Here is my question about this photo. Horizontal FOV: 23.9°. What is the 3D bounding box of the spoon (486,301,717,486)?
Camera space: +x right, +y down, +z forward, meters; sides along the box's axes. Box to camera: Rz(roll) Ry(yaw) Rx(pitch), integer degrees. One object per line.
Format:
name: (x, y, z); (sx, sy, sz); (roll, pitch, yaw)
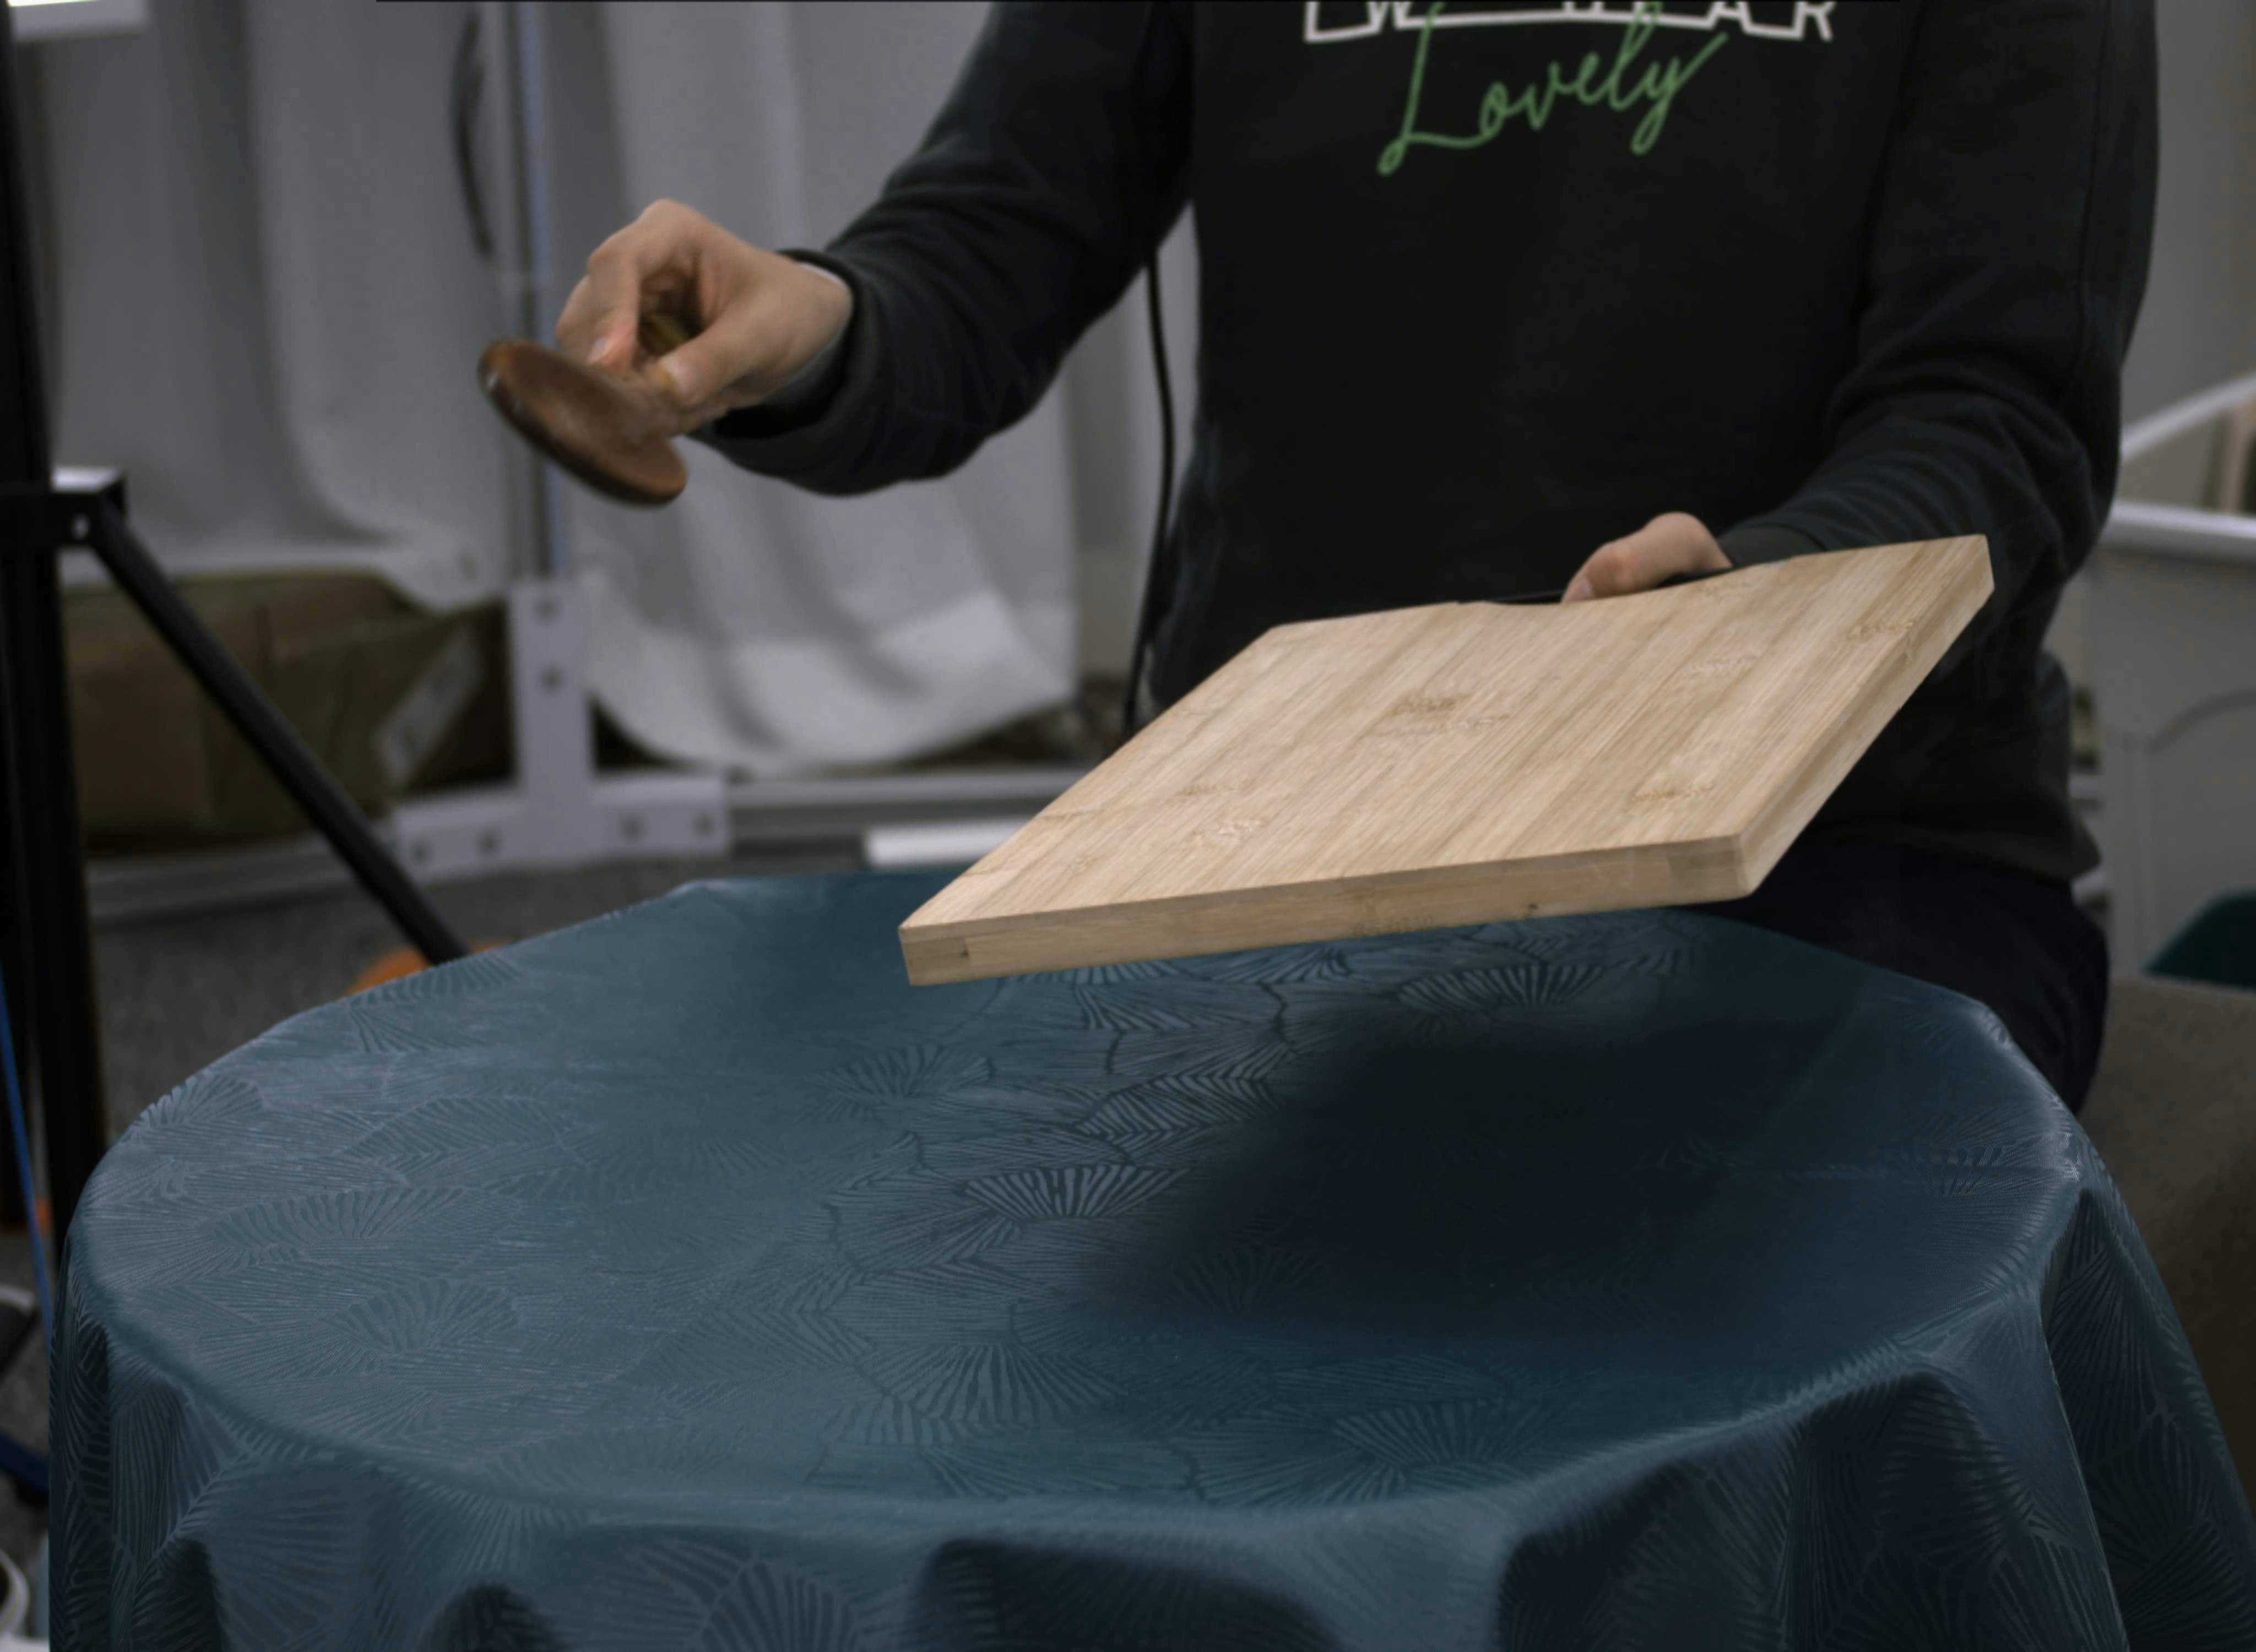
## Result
spoon: (-0.156, -0.139, 1.678); (0.075, 0.017, 0.215); (33, 14, -3)

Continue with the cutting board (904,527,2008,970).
cutting board: (0.106, -0.025, 1.555); (0.253, 0.023, 0.345); (-7, 14, 21)
